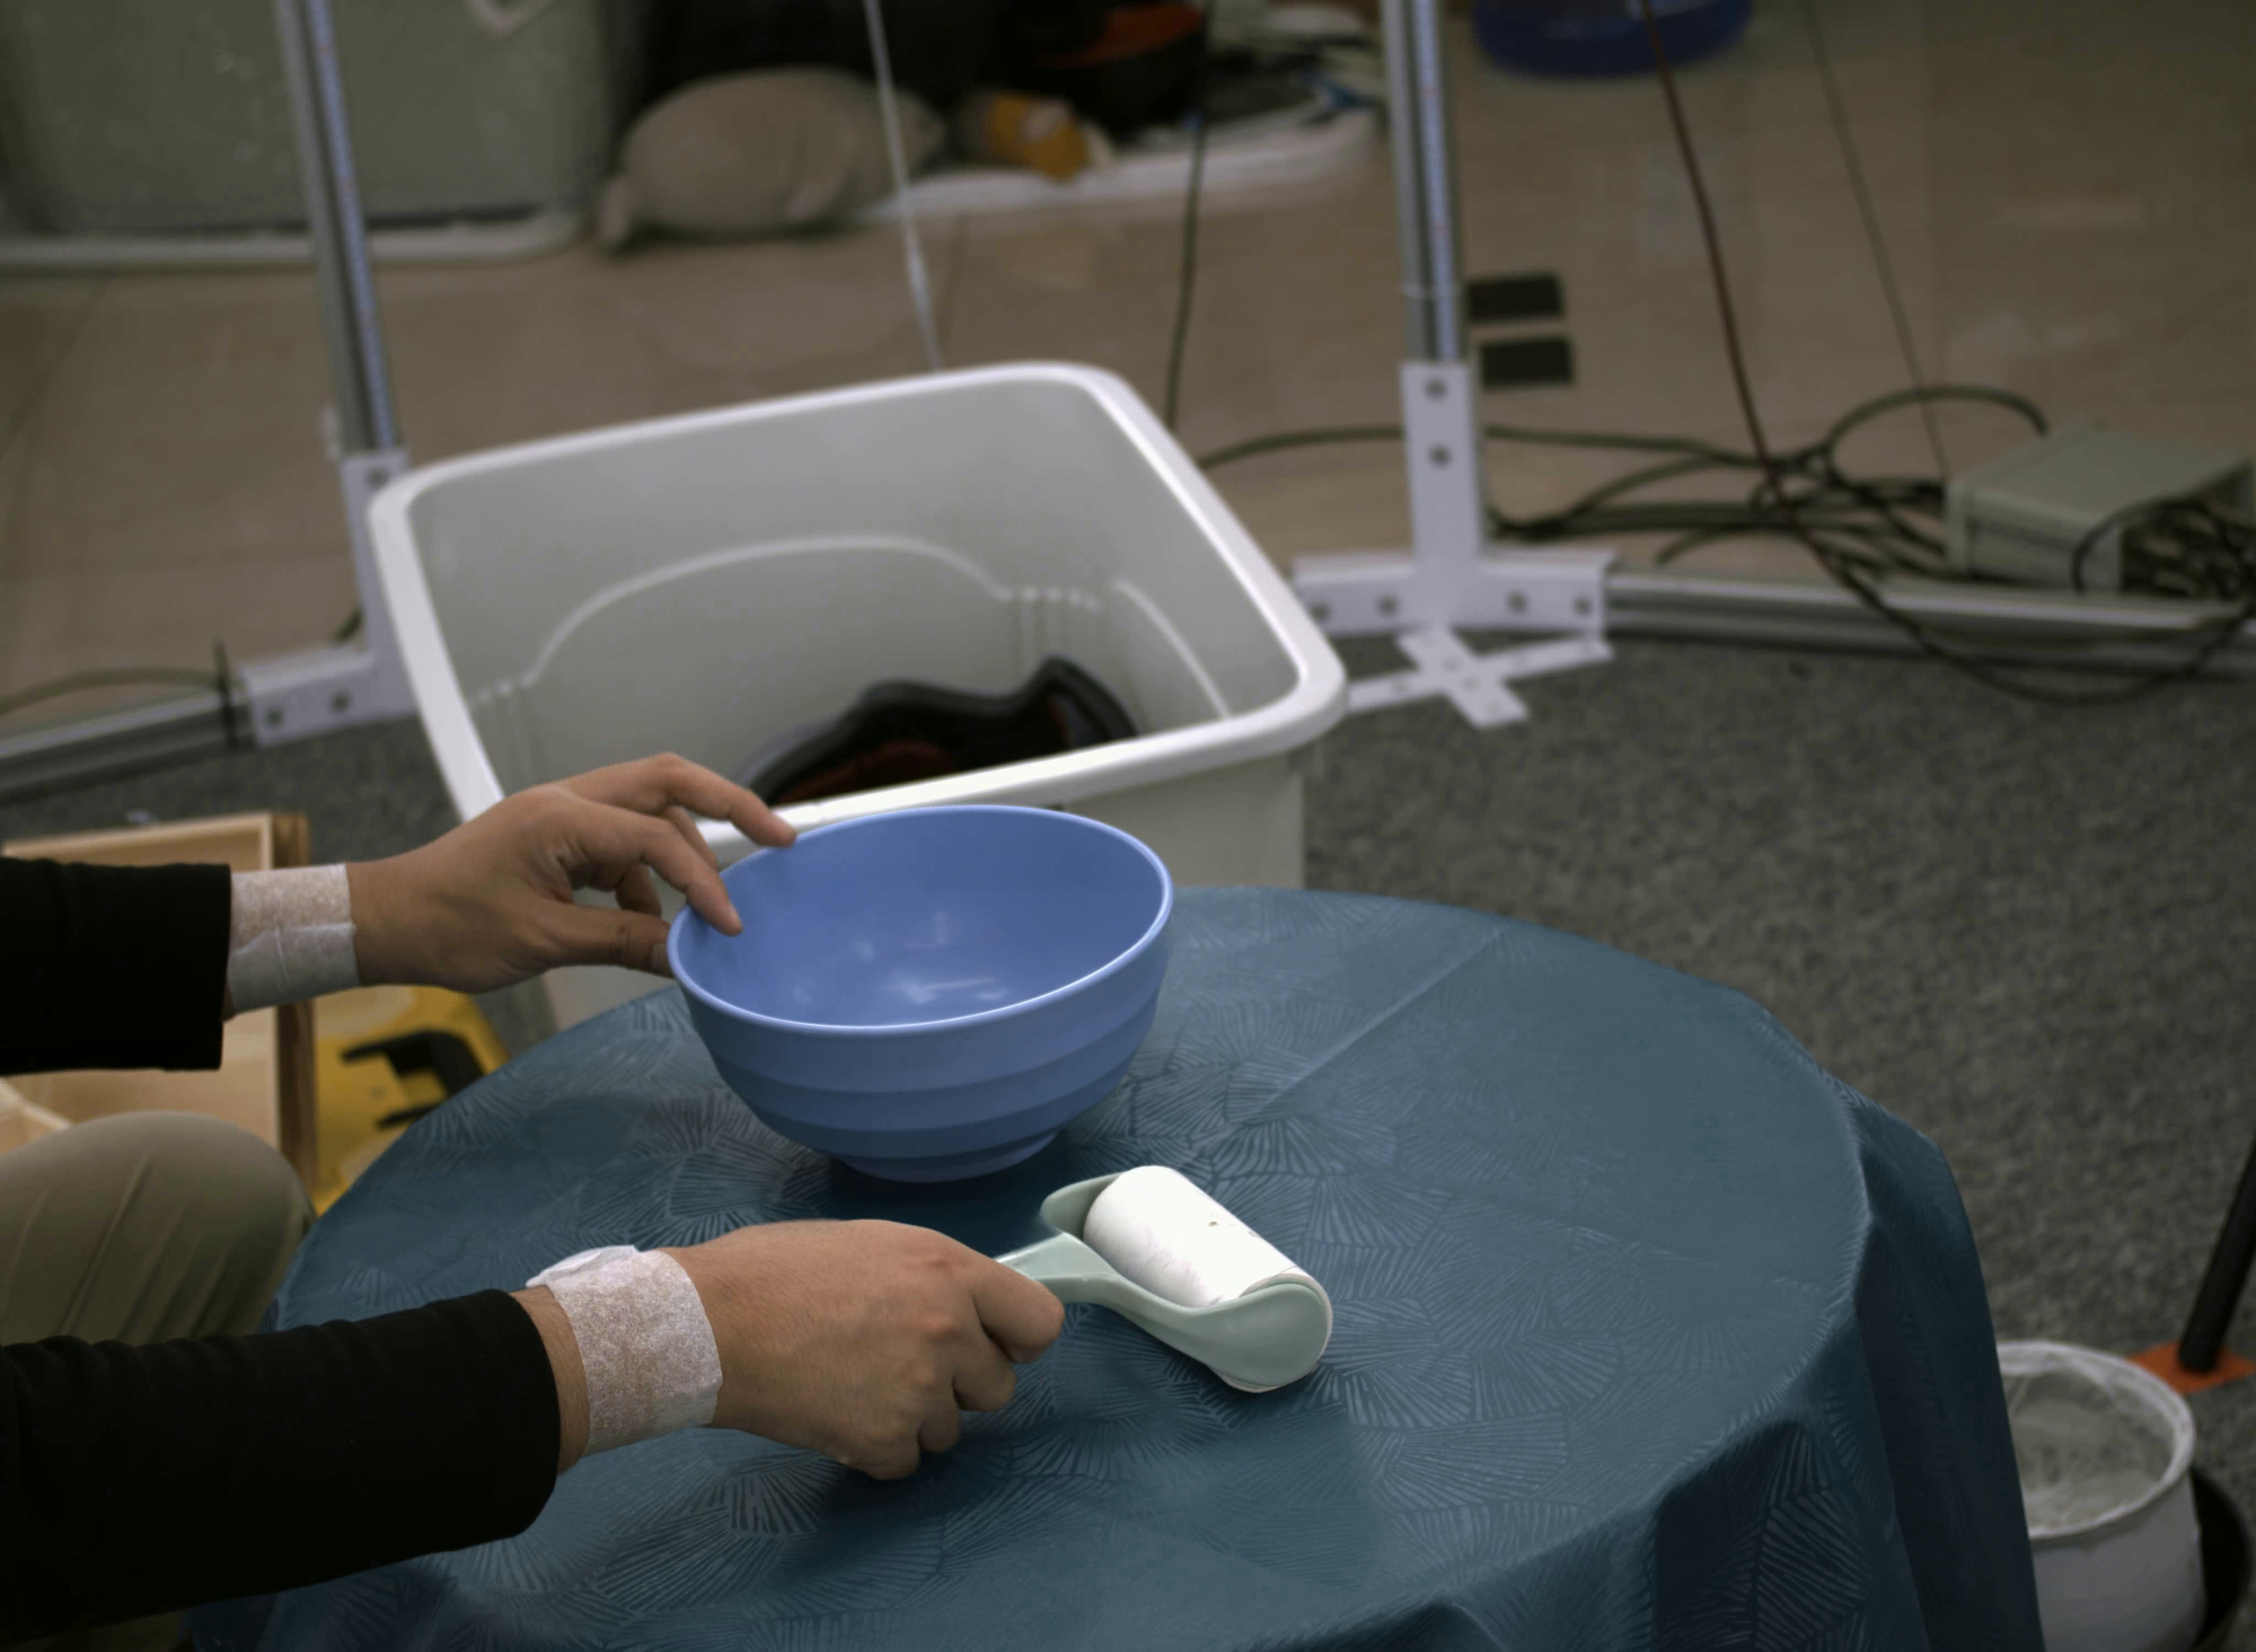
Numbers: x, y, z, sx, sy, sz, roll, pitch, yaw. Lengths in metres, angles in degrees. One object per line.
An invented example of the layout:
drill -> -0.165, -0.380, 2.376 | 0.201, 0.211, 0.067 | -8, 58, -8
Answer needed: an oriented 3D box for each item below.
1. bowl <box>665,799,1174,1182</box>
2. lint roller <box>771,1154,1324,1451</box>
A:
bowl -> -0.076, 0.074, 2.190 | 0.196, 0.097, 0.193 | -5, 26, 2
lint roller -> -0.039, 0.173, 2.009 | 0.197, 0.049, 0.115 | -13, 27, -27
